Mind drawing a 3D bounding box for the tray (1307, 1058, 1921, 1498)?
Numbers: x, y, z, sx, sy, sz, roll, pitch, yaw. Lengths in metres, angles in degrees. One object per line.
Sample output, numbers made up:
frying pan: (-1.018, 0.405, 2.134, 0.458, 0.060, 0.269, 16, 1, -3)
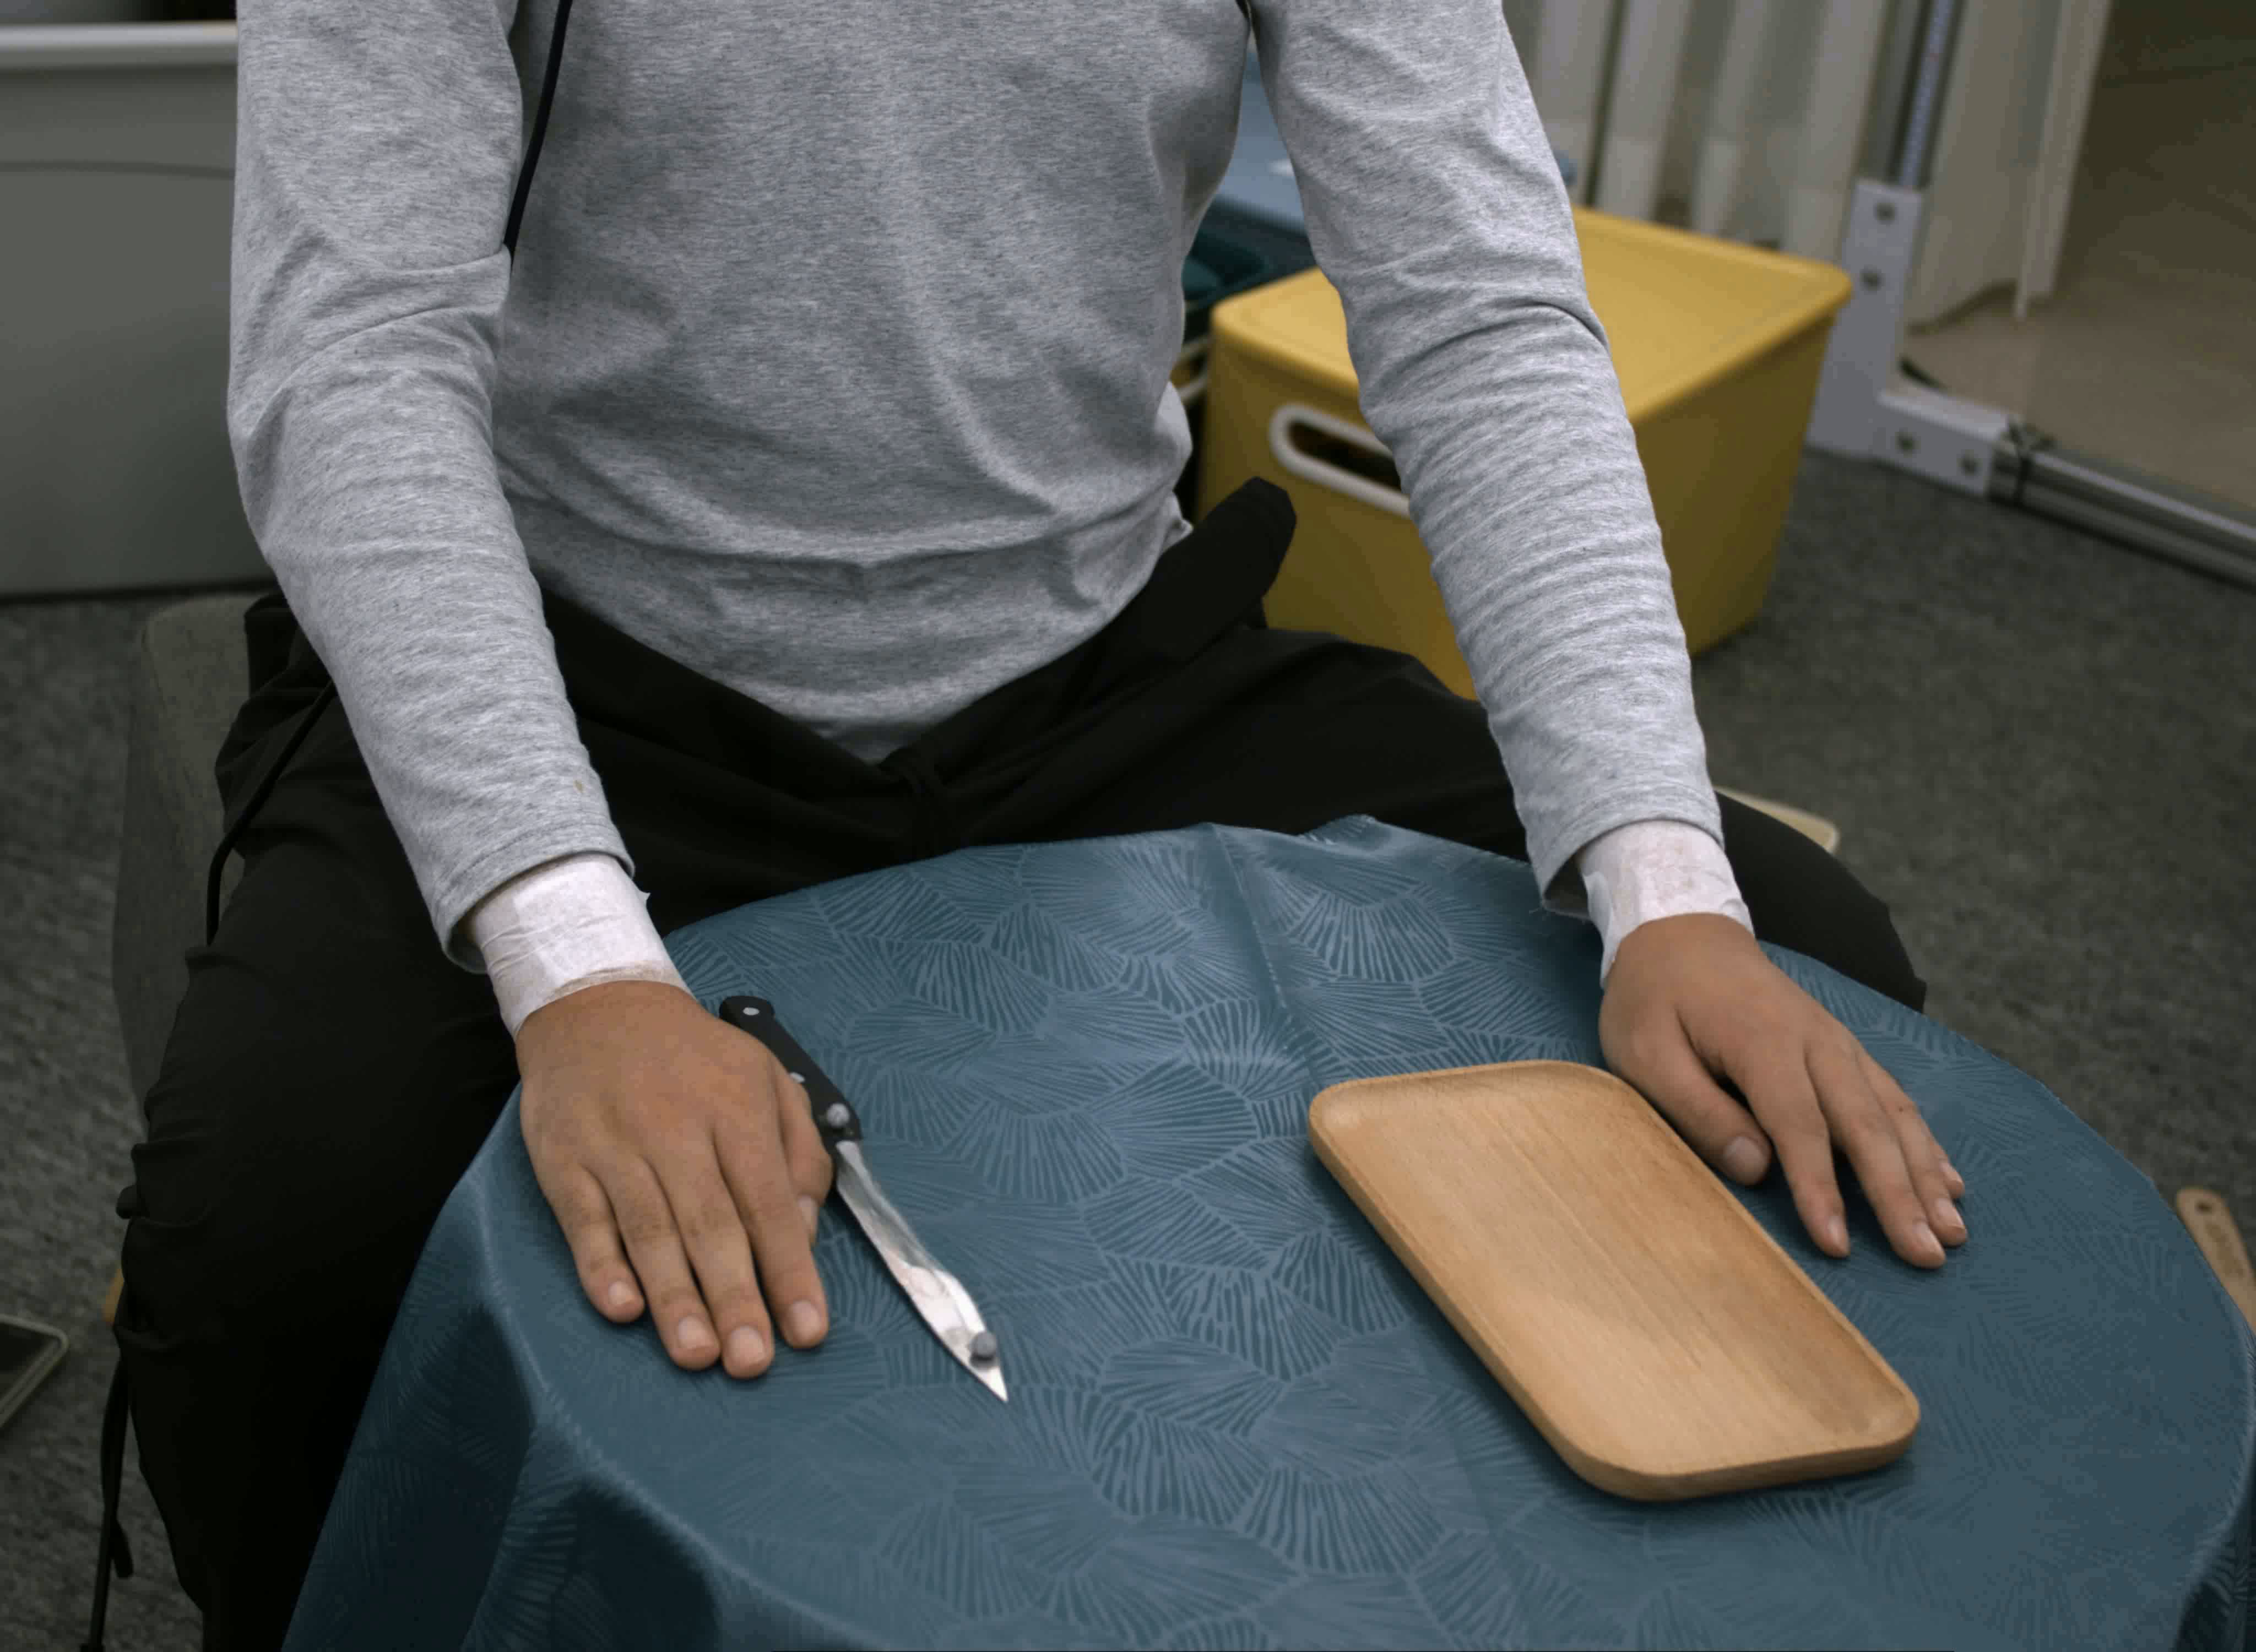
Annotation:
tray: (0.157, 0.148, 1.776, 0.129, 0.023, 0.253, -2, 27, -22)

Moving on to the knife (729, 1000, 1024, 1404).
knife: (-0.086, 0.124, 1.773, 0.024, 0.016, 0.240, -7, 32, -25)
